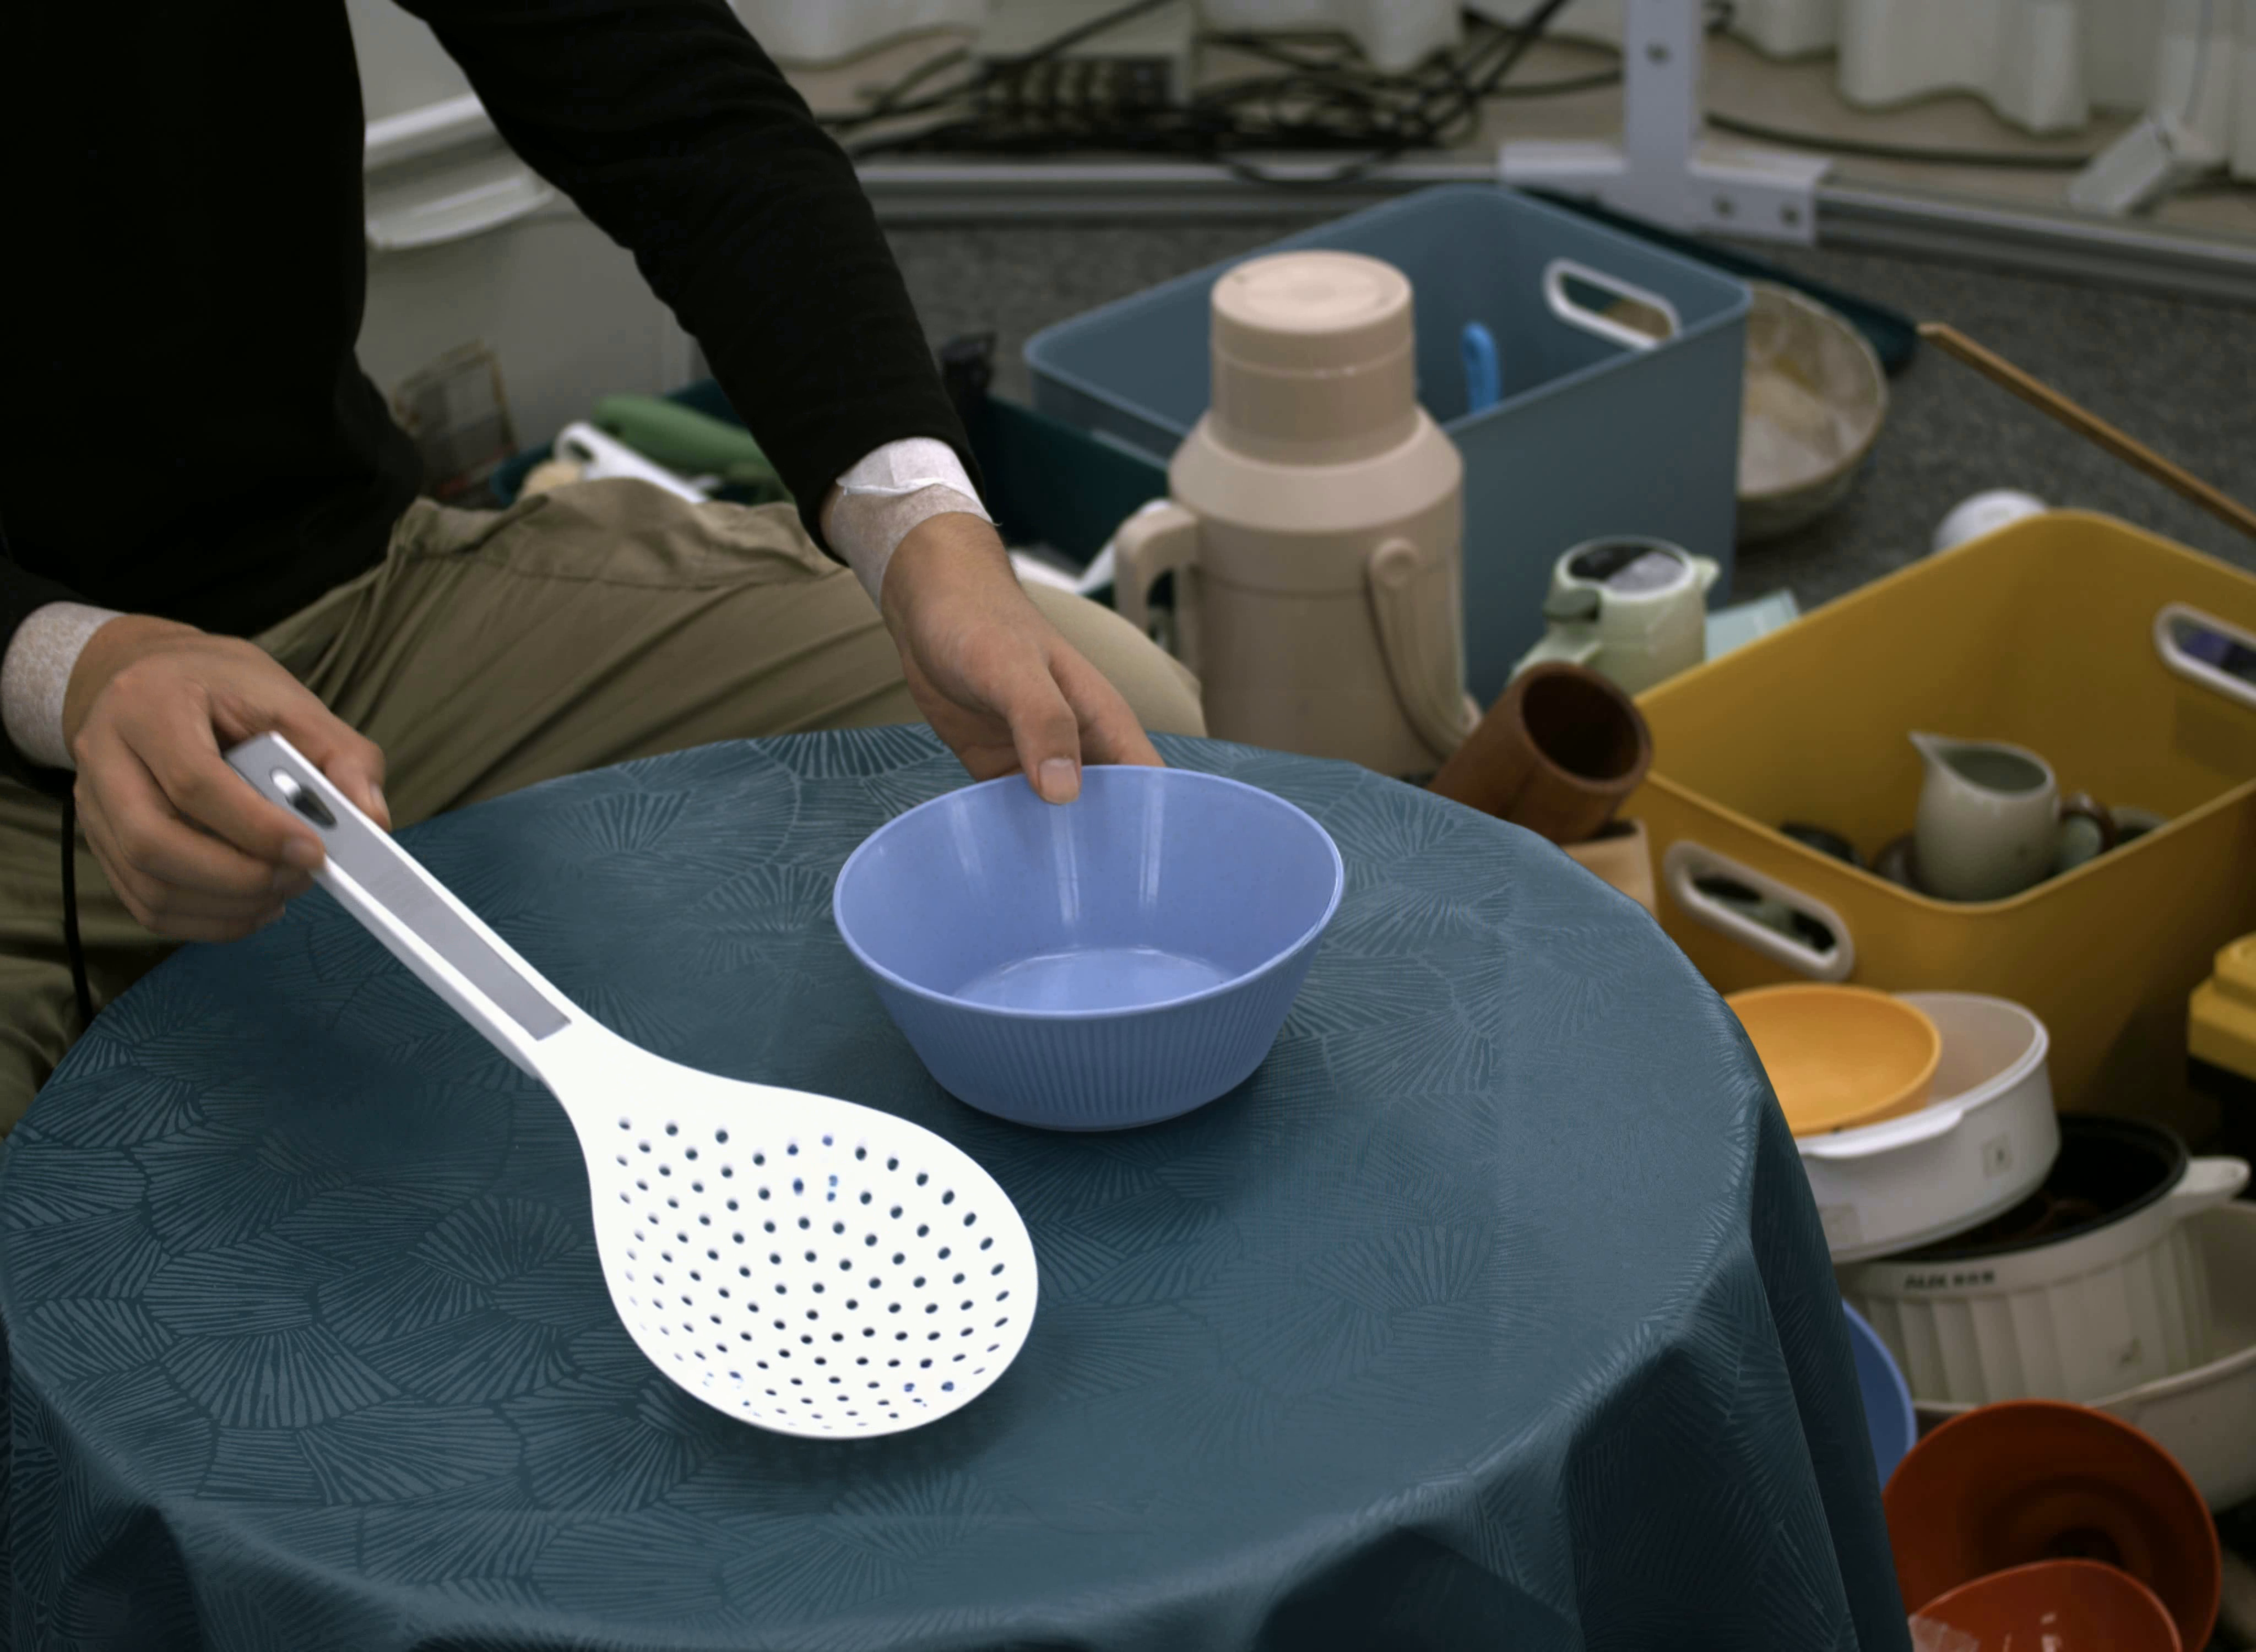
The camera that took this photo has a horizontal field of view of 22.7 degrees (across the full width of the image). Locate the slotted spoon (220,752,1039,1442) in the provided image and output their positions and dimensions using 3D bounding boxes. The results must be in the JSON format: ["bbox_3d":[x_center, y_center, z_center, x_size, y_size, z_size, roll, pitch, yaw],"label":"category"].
[{"bbox_3d":[-0.172,0.082,1.801,0.351,0.045,0.138,41,51,22],"label":"slotted spoon"}]

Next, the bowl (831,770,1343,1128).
[{"bbox_3d":[-0.012,0.048,1.930,0.175,0.069,0.178,-3,26,2],"label":"bowl"}]
